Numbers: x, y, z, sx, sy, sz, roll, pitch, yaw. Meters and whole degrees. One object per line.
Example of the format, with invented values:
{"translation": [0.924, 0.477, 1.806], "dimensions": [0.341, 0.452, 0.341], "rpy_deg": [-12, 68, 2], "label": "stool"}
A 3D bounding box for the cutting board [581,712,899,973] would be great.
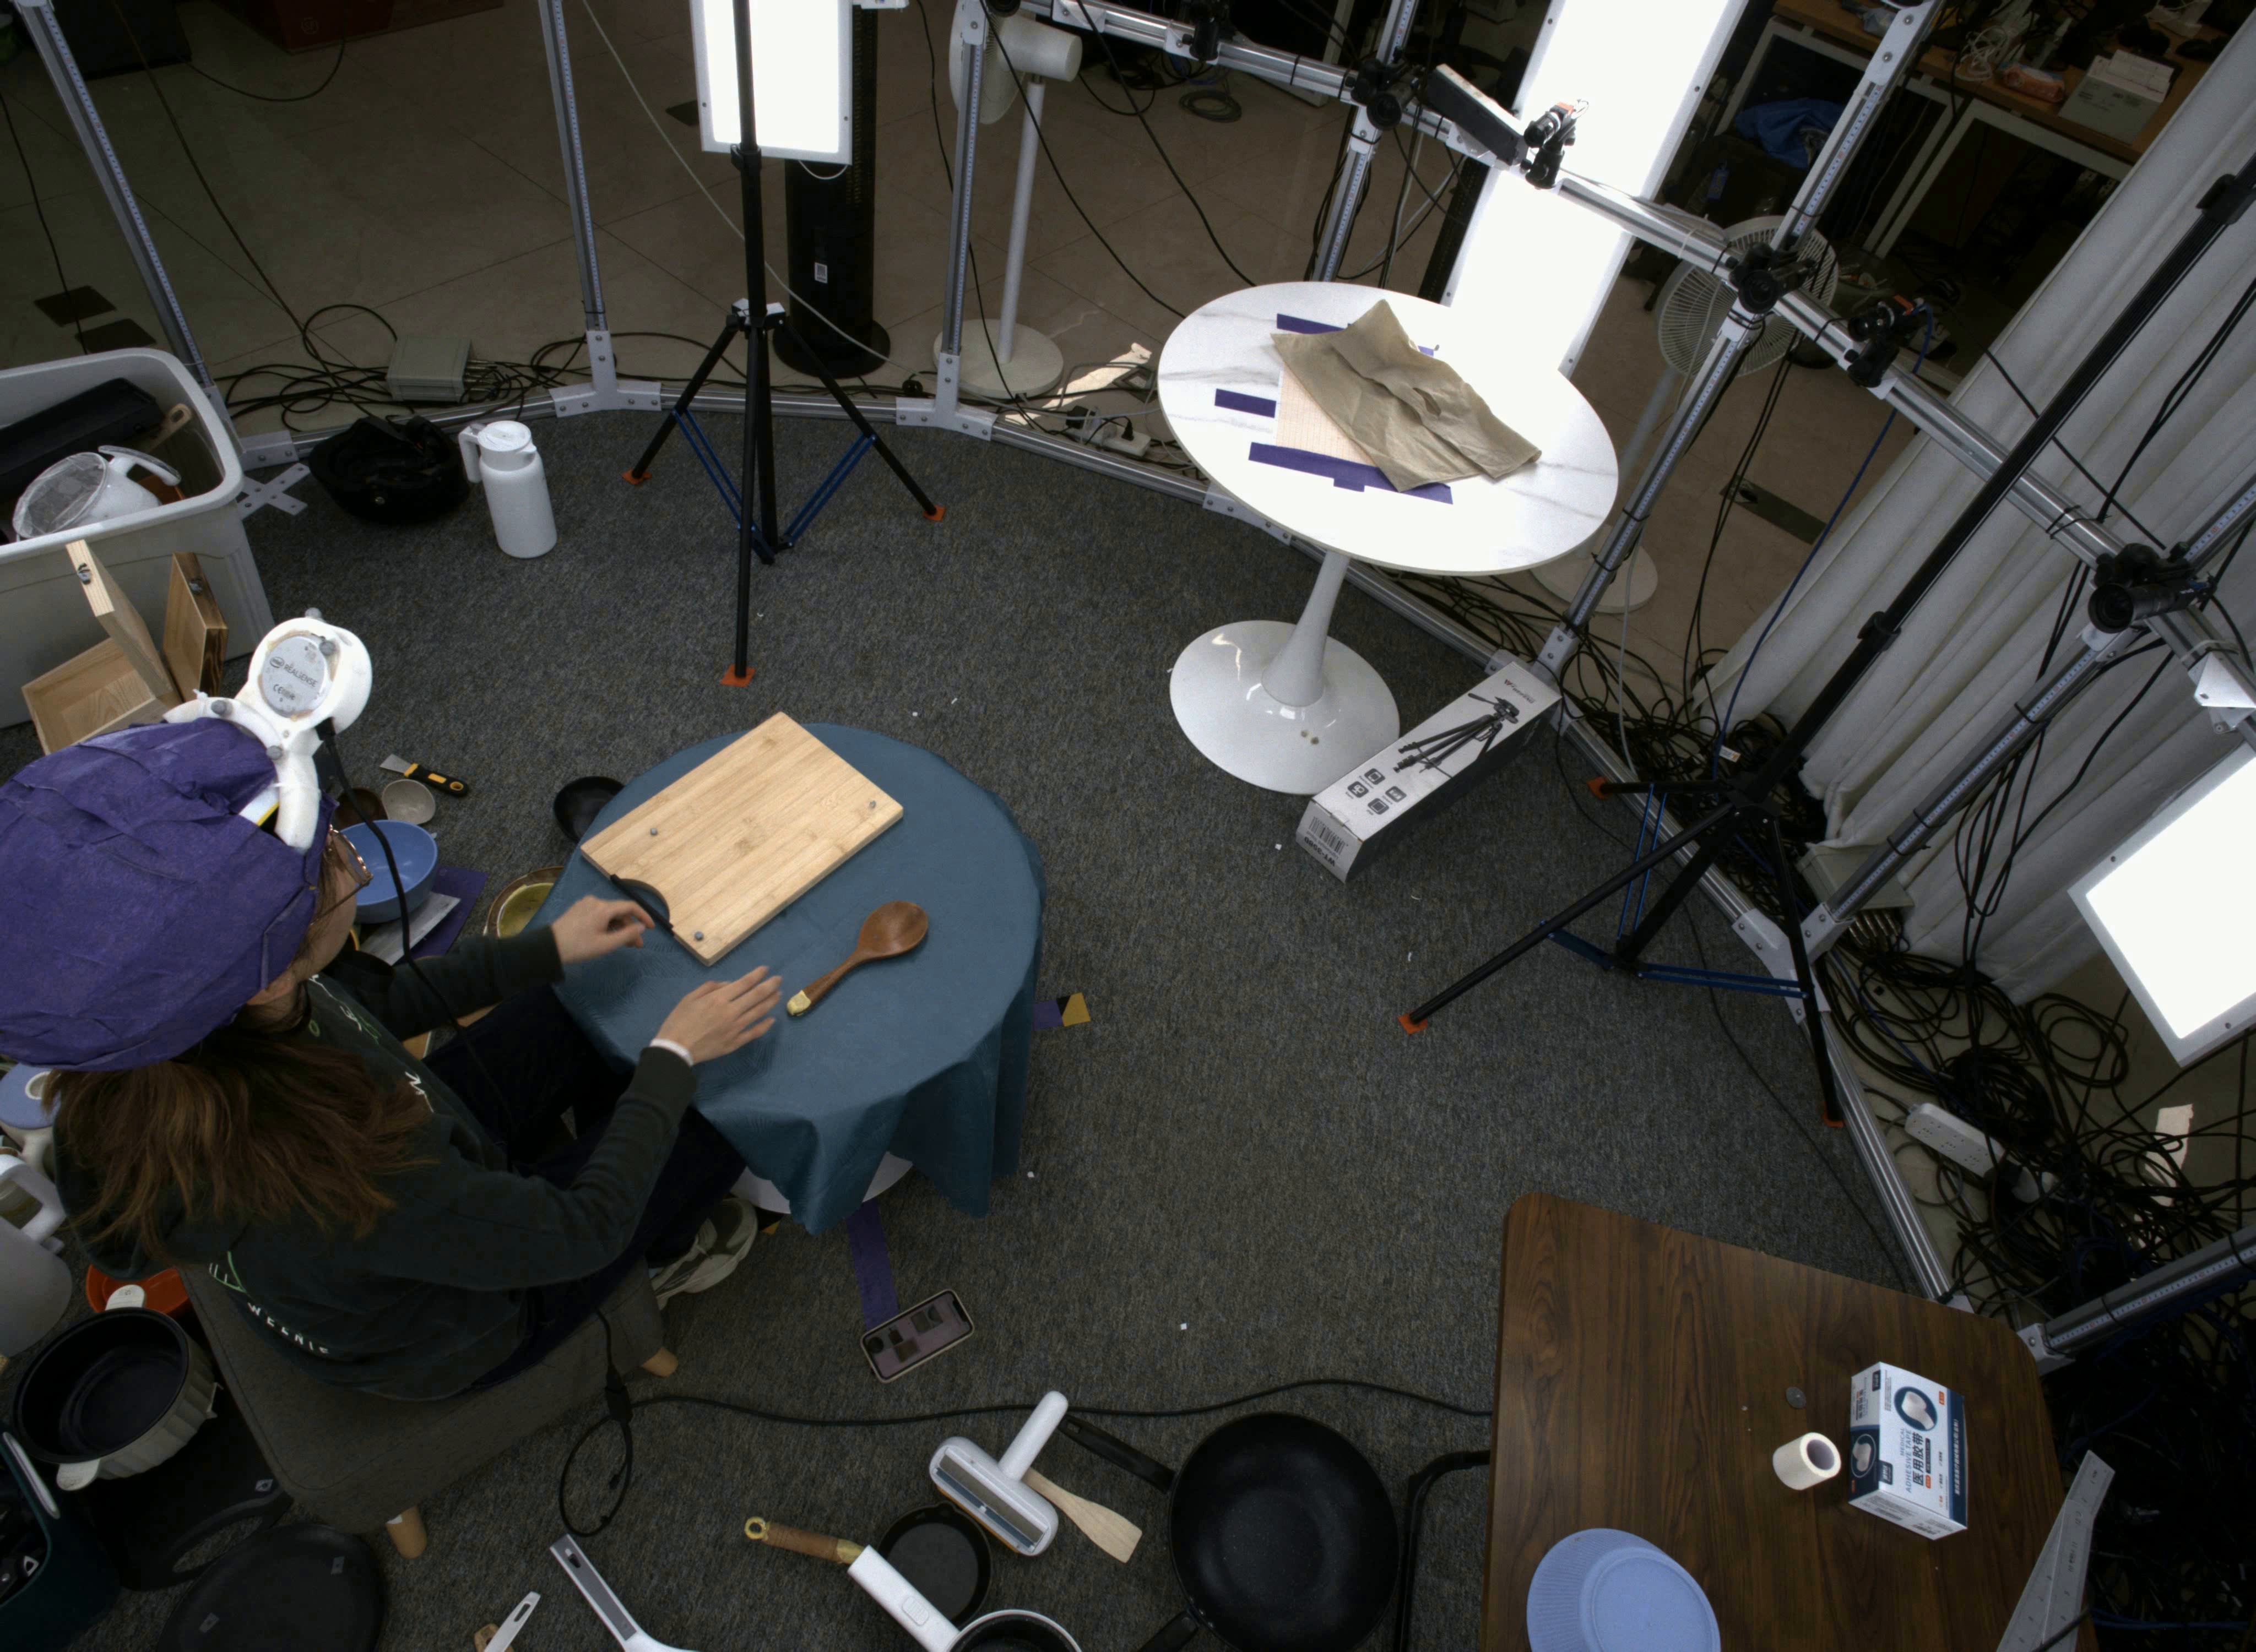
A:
{"translation": [-0.503, 0.009, 1.691], "dimensions": [0.245, 0.024, 0.348], "rpy_deg": [36, 54, 14], "label": "cutting board"}

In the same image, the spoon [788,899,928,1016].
{"translation": [-0.337, 0.163, 1.618], "dimensions": [0.074, 0.017, 0.216], "rpy_deg": [40, 54, 14], "label": "spoon"}
